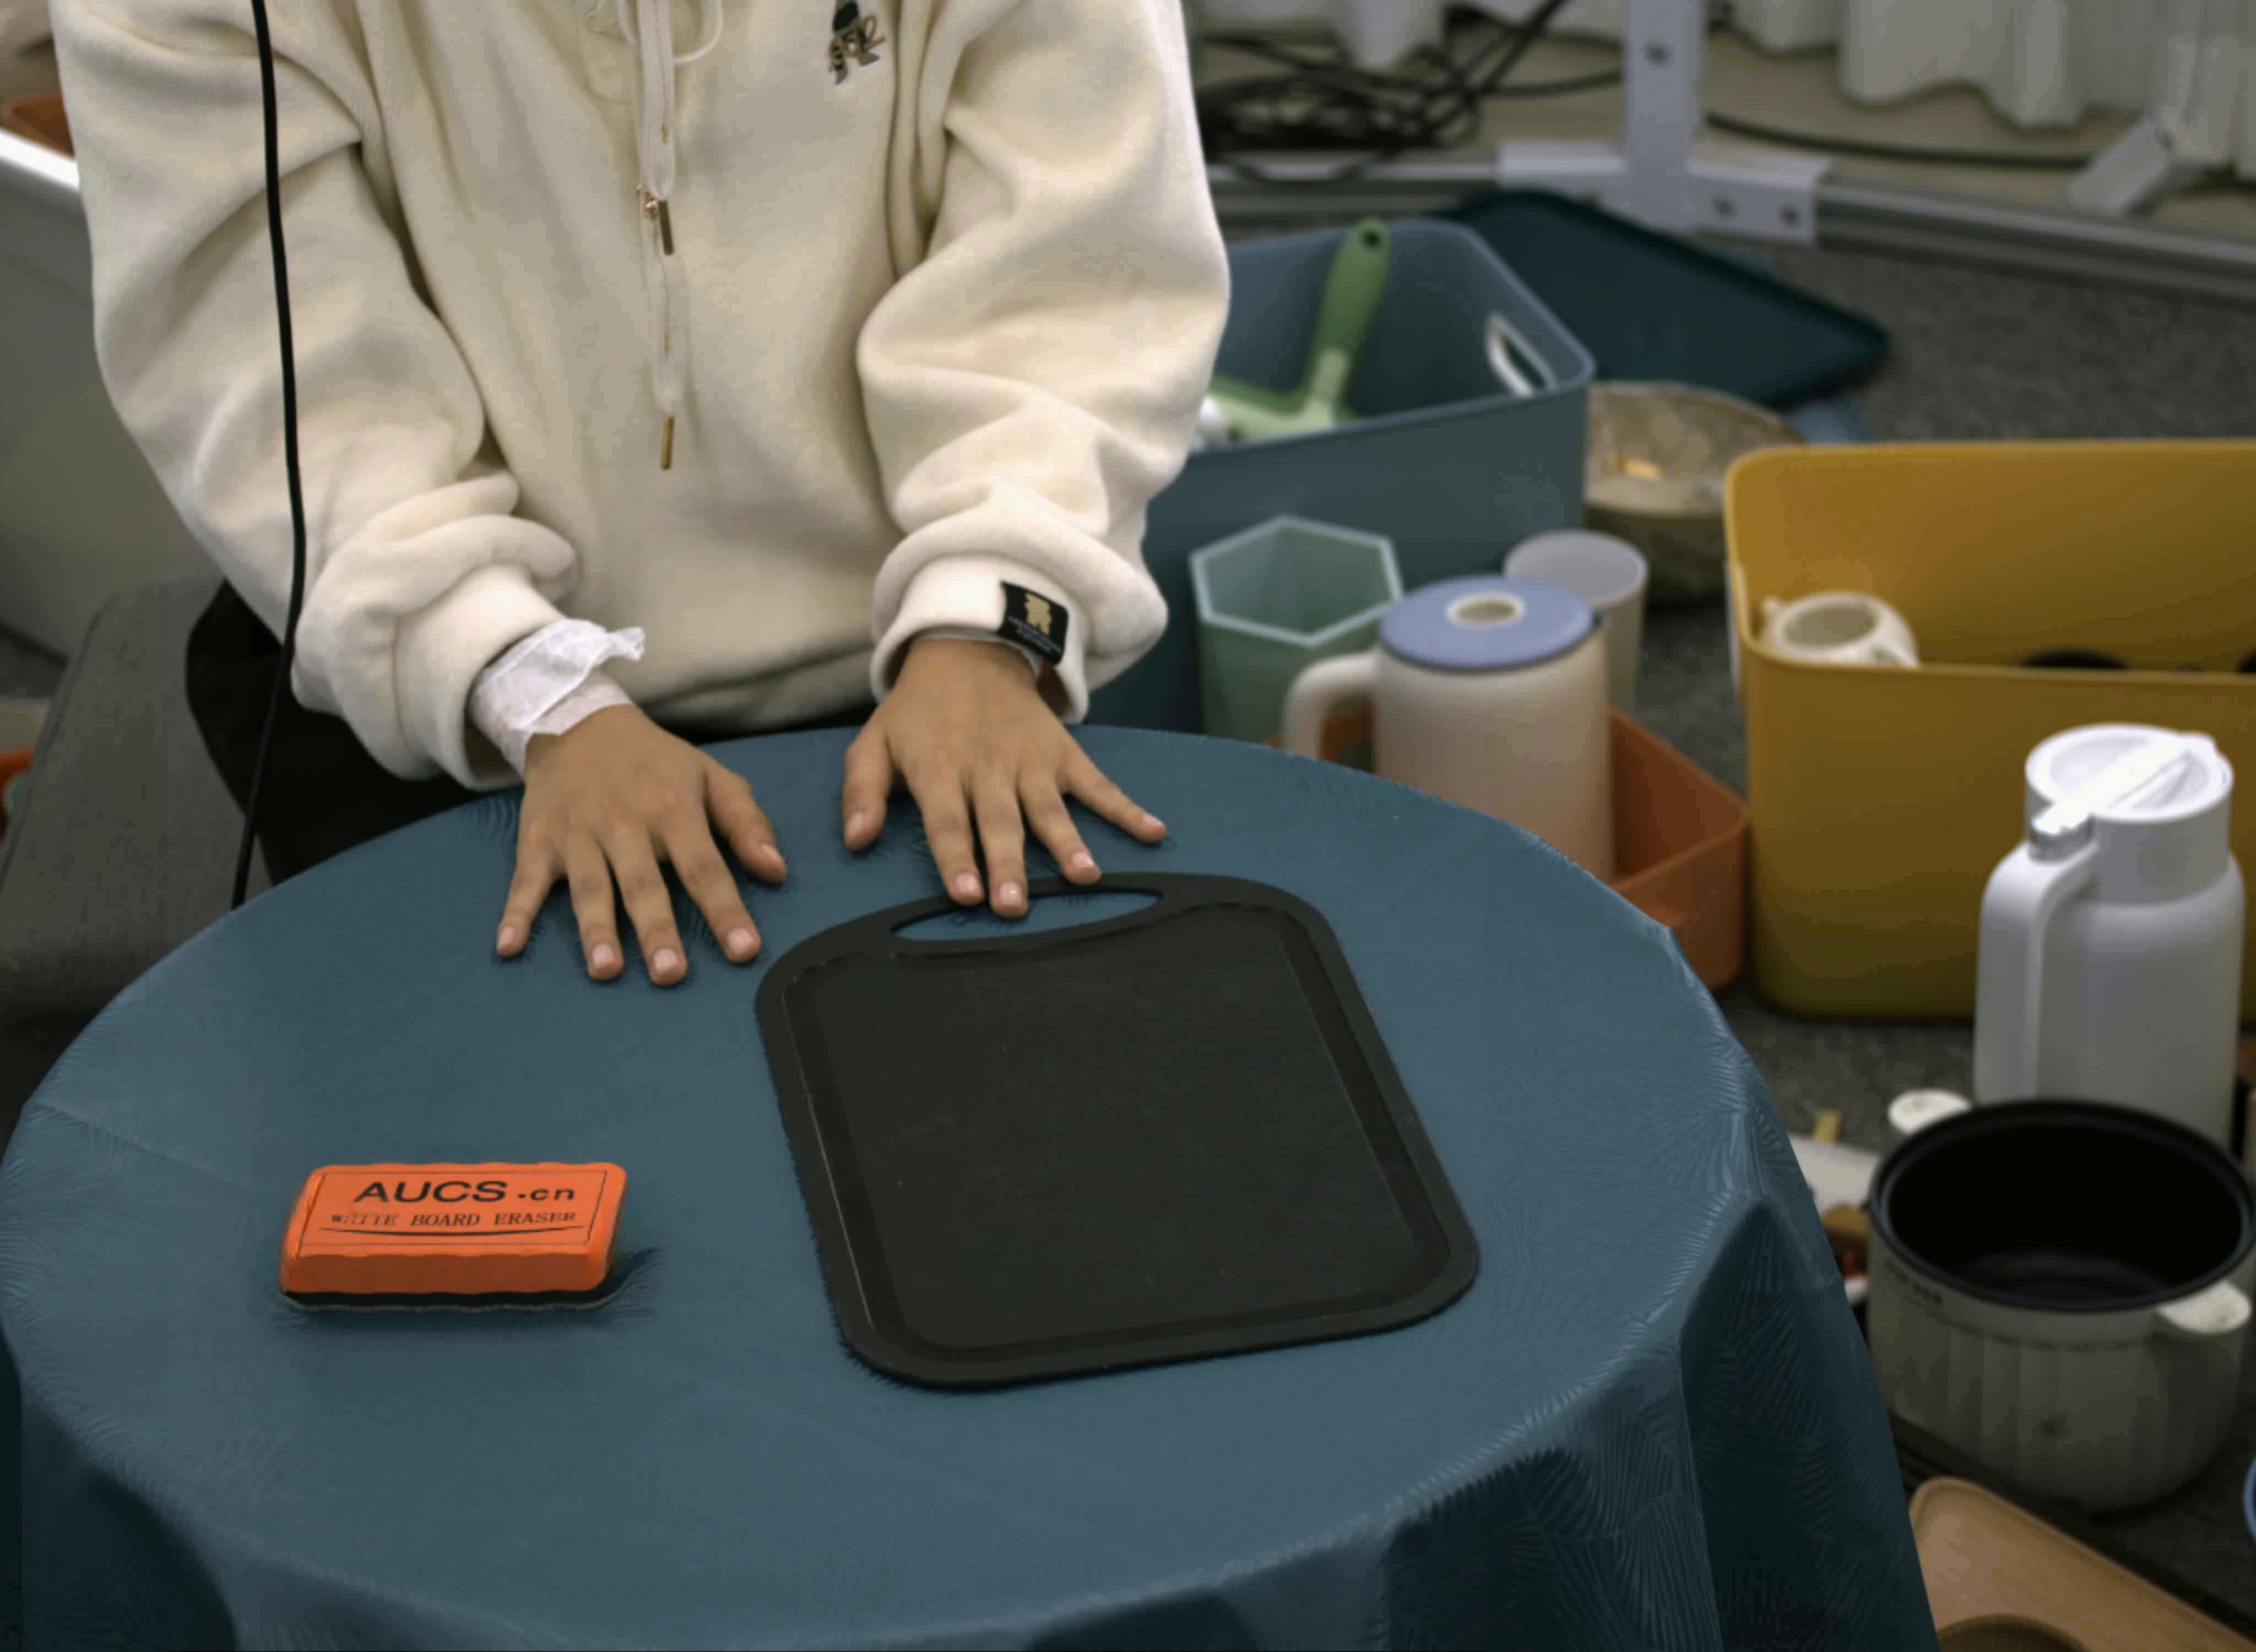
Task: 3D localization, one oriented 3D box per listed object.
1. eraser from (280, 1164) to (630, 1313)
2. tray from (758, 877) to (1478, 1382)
[{"bbox_3d":[-0.219,0.135,1.832,0.107,0.022,0.060,0,28,5],"label":"eraser"},{"bbox_3d":[-0.012,0.094,1.909,0.211,0.009,0.329,-7,27,-8],"label":"tray"}]
